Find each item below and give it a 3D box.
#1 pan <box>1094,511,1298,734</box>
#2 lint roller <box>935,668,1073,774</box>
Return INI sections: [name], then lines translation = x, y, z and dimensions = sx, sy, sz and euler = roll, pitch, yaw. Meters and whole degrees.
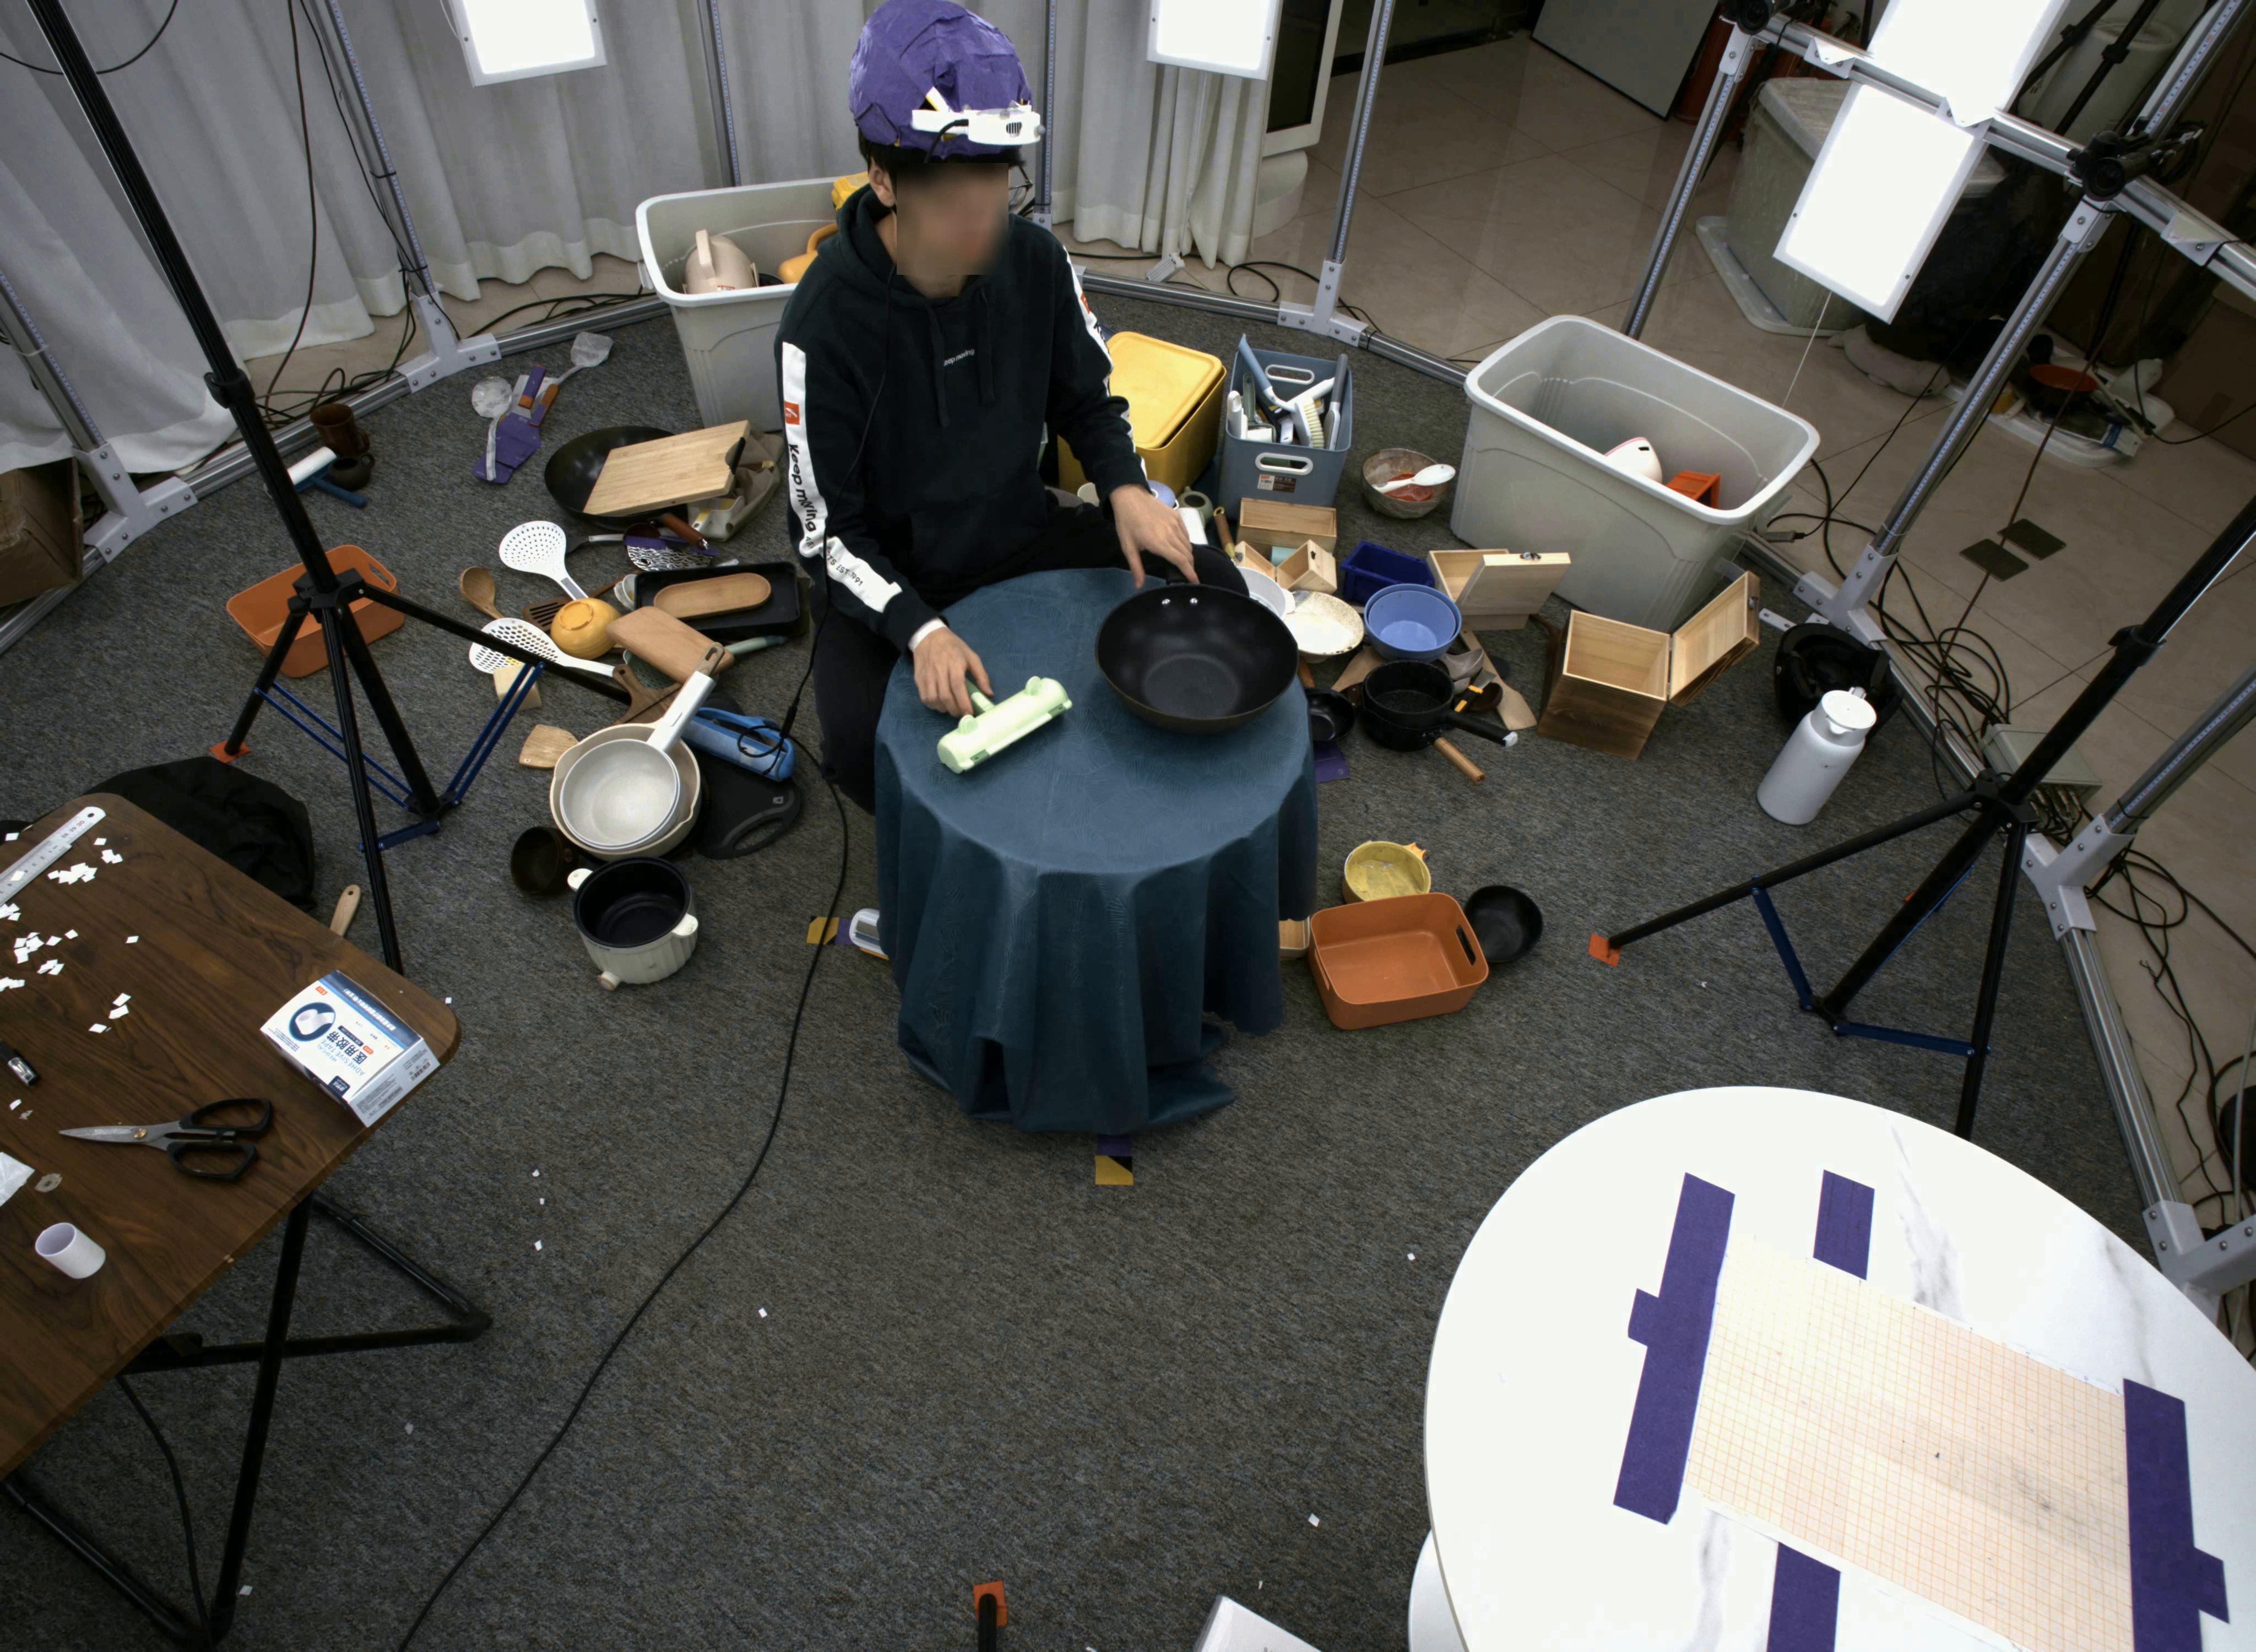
[pan]
translation = 0.079, -0.291, 1.872
dimensions = 0.288, 0.085, 0.475
euler = -5, 48, -8
[lint roller]
translation = -0.205, -0.178, 1.760
dimensions = 0.200, 0.080, 0.186
euler = -33, 64, -28
